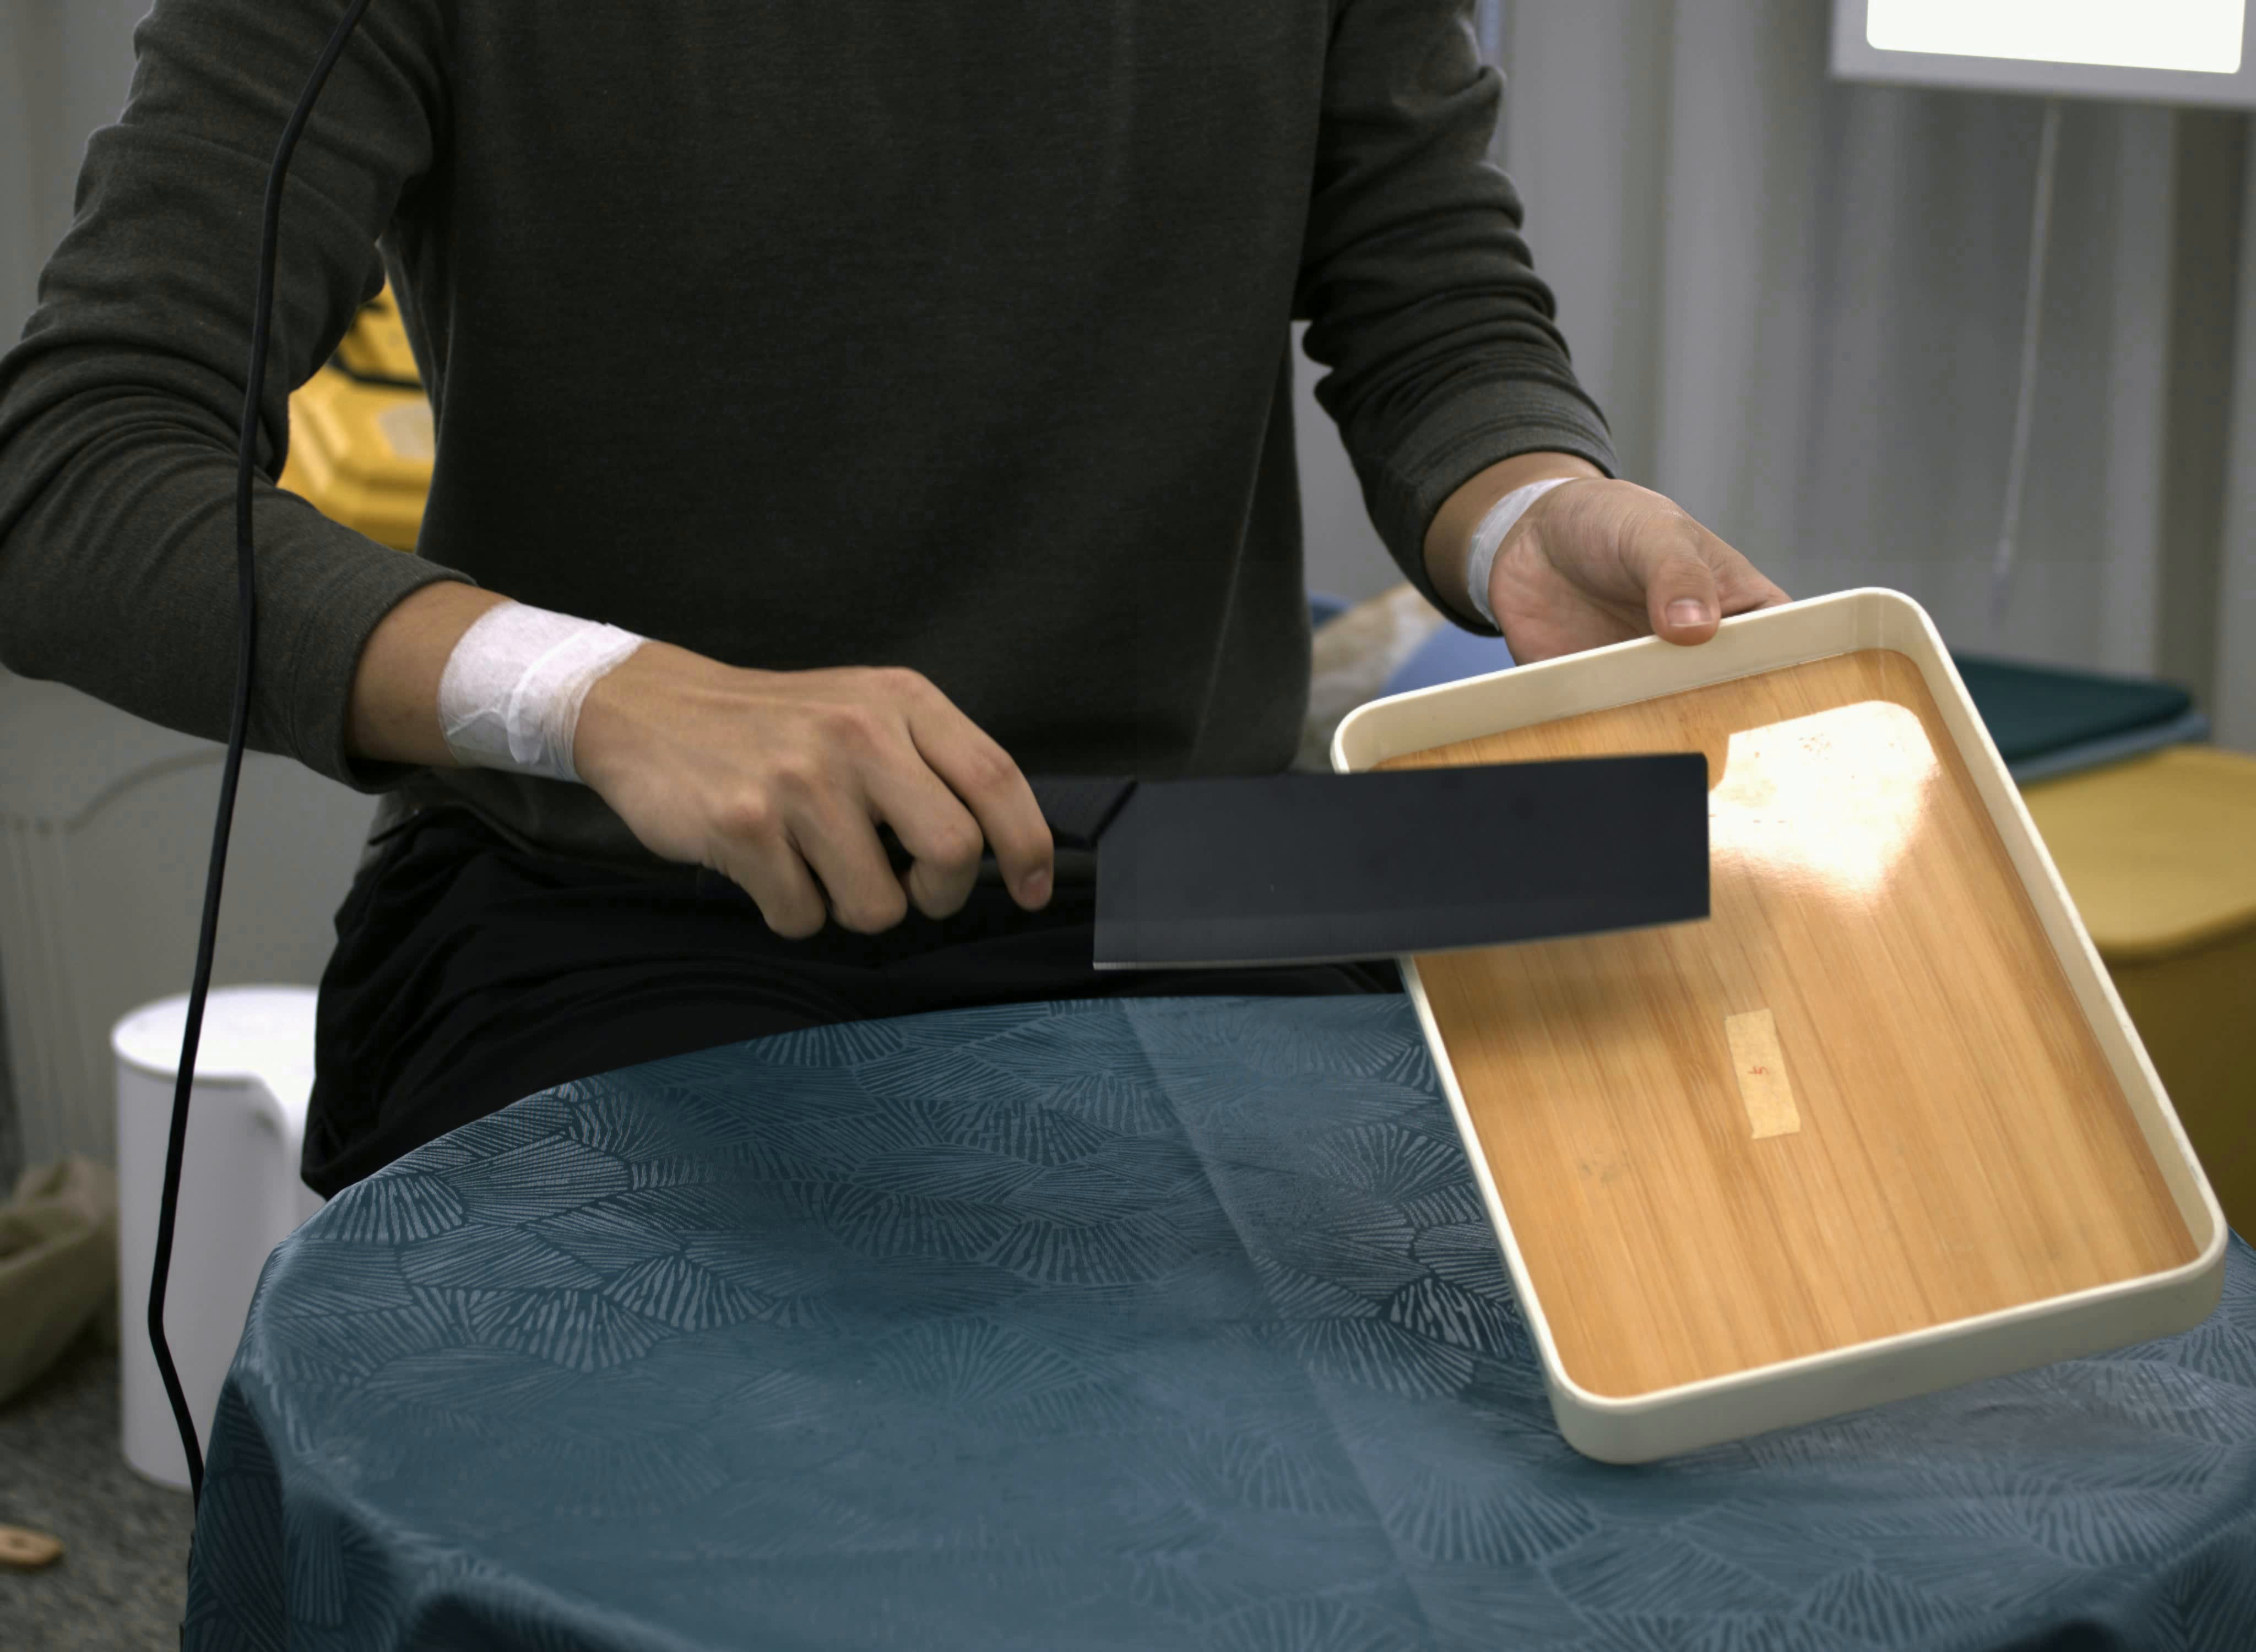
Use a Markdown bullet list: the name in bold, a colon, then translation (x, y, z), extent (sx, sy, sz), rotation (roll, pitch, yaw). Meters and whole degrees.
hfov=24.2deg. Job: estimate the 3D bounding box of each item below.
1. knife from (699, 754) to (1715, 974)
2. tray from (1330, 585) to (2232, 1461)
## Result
- **knife**: translation (0.022, 0.011, 1.540), extent (0.300, 0.021, 0.080), rotation (0, 54, 11)
- **tray**: translation (0.181, 0.049, 1.519), extent (0.191, 0.028, 0.297), rotation (-13, 43, -4)
